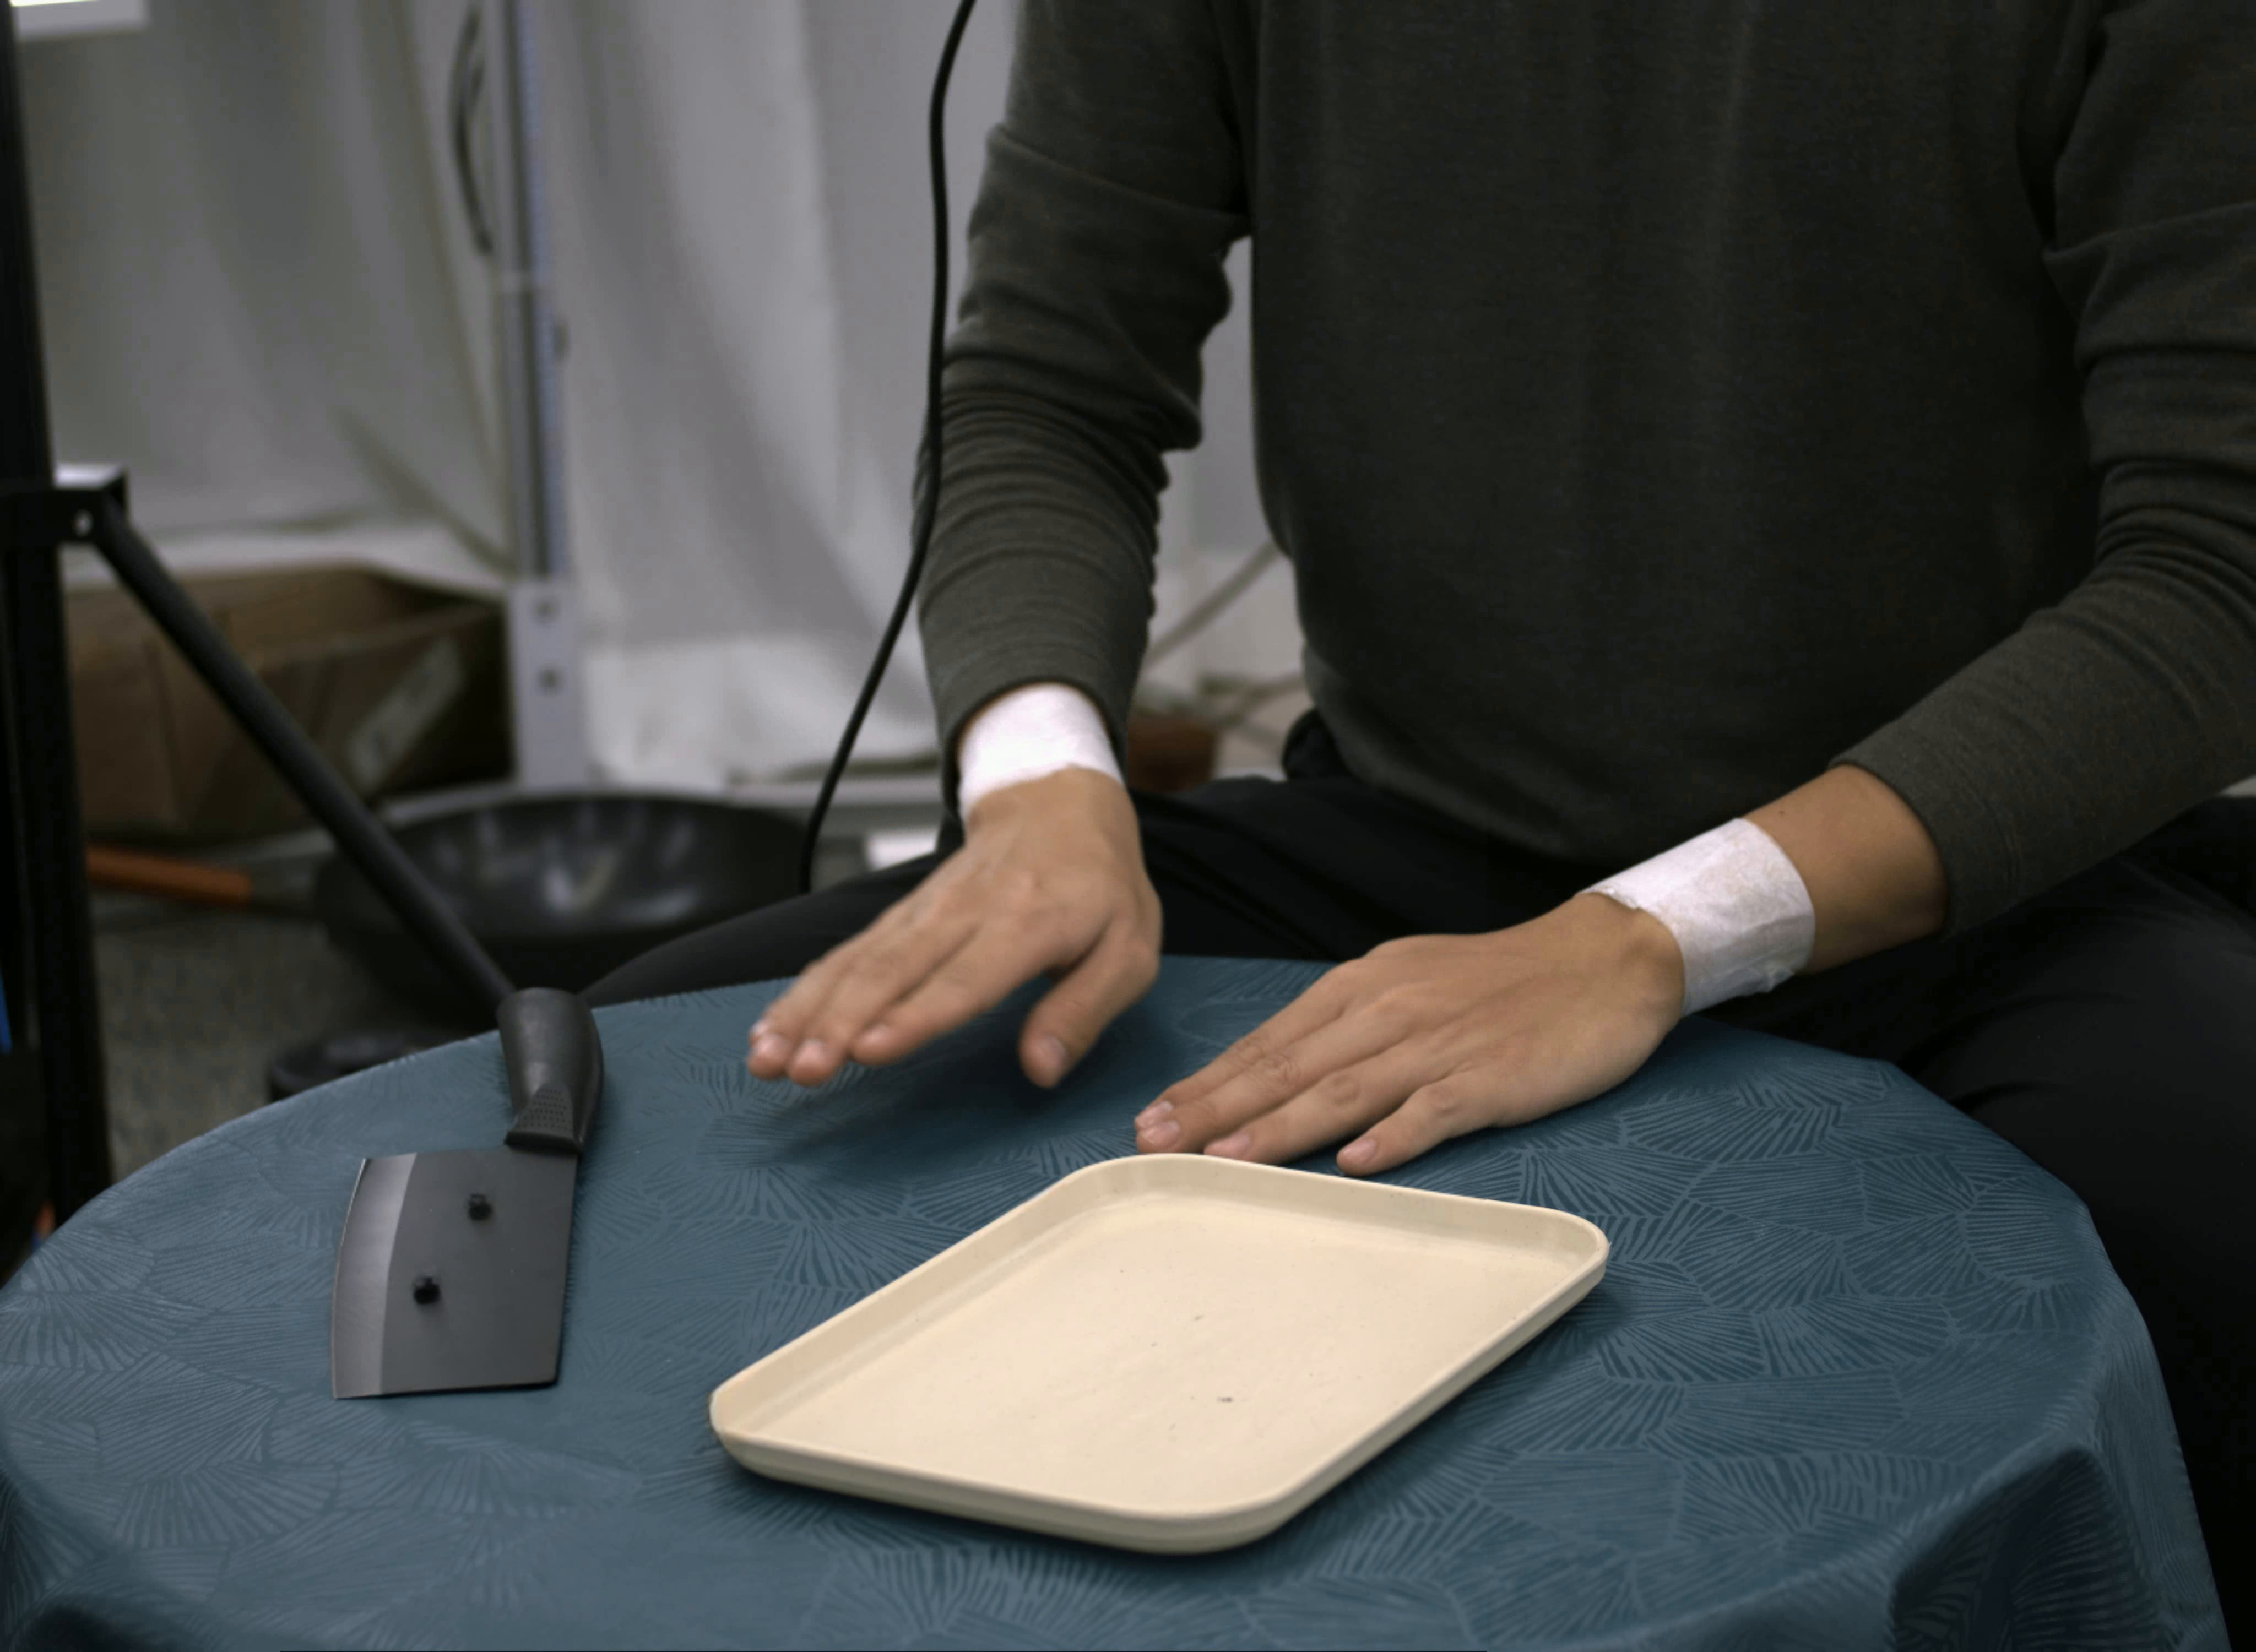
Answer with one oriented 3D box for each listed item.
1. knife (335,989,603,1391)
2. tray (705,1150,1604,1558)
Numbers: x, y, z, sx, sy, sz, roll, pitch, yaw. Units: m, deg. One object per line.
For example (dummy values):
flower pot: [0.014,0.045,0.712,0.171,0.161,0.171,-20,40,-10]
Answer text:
knife: [-0.190,0.106,1.575,0.080,0.021,0.303,-3,17,2]
tray: [0.011,0.139,1.417,0.174,0.017,0.235,8,18,30]
